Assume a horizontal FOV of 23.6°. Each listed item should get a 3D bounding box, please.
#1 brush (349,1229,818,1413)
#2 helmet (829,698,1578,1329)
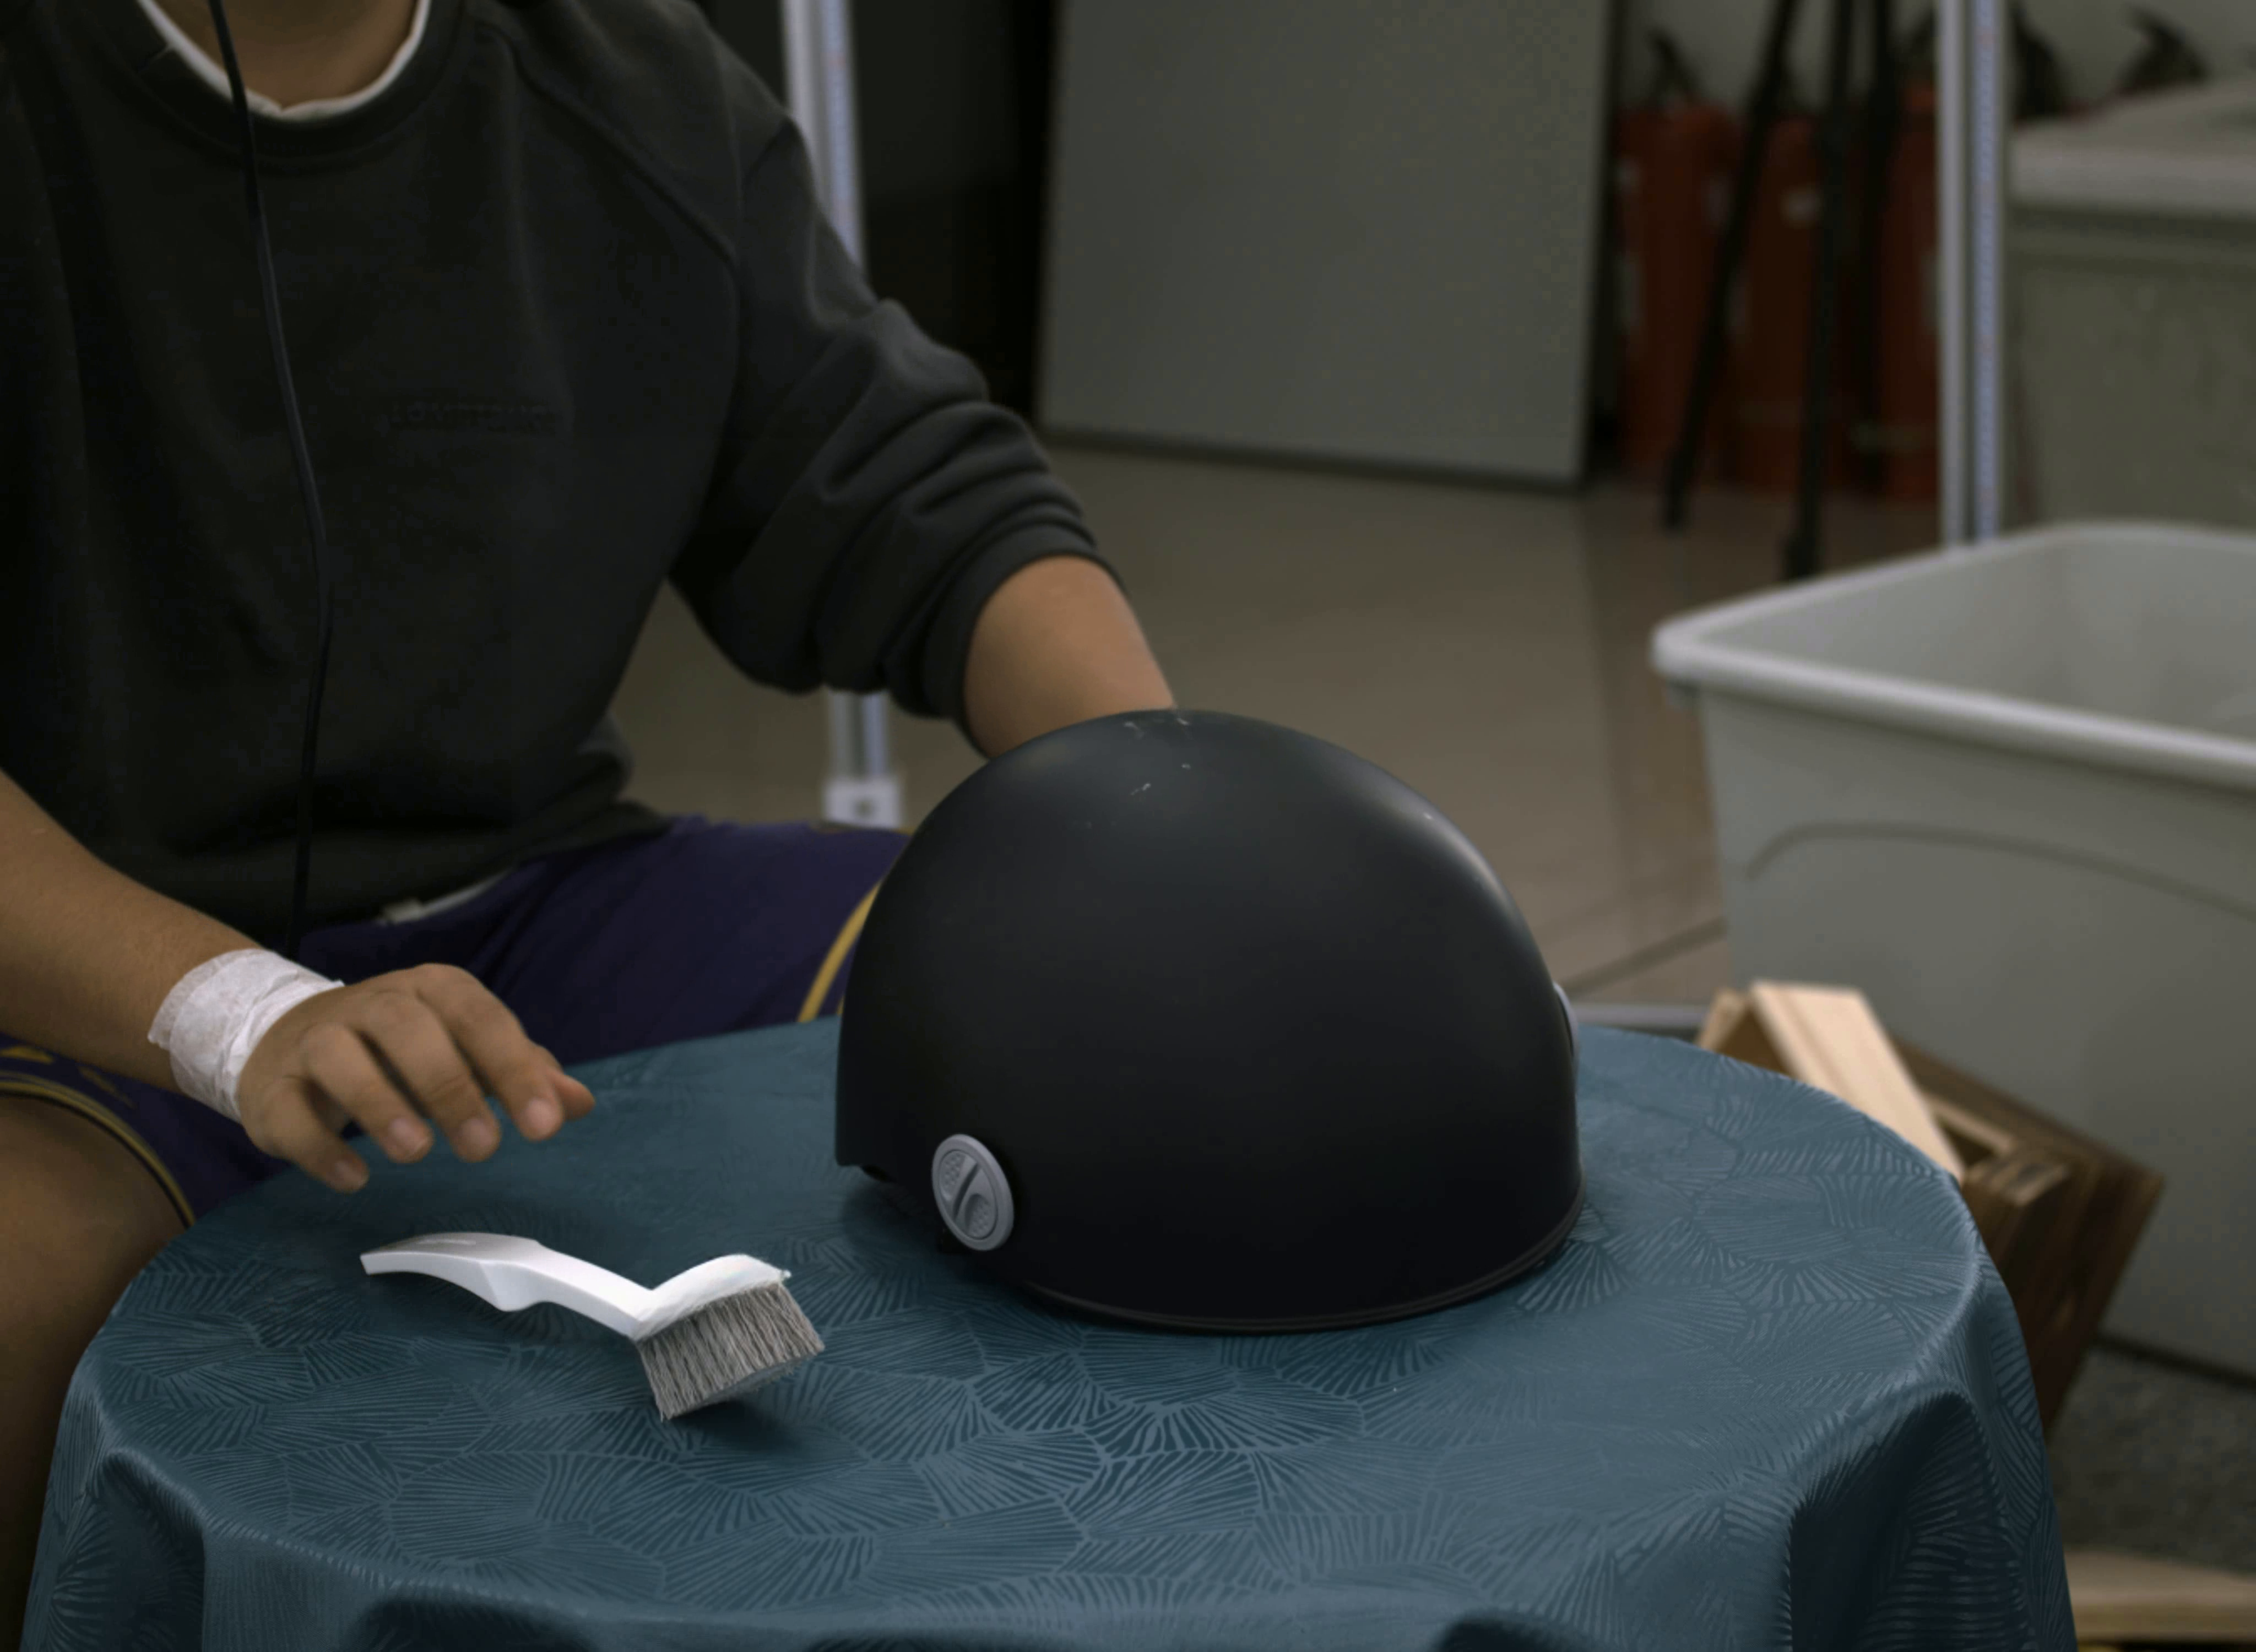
[{"bbox_3d":[-0.169,0.152,1.644,0.033,0.051,0.246,-18,5,-35],"label":"brush"},{"bbox_3d":[0.021,0.048,1.726,0.225,0.168,0.276,-13,18,-24],"label":"helmet"}]
